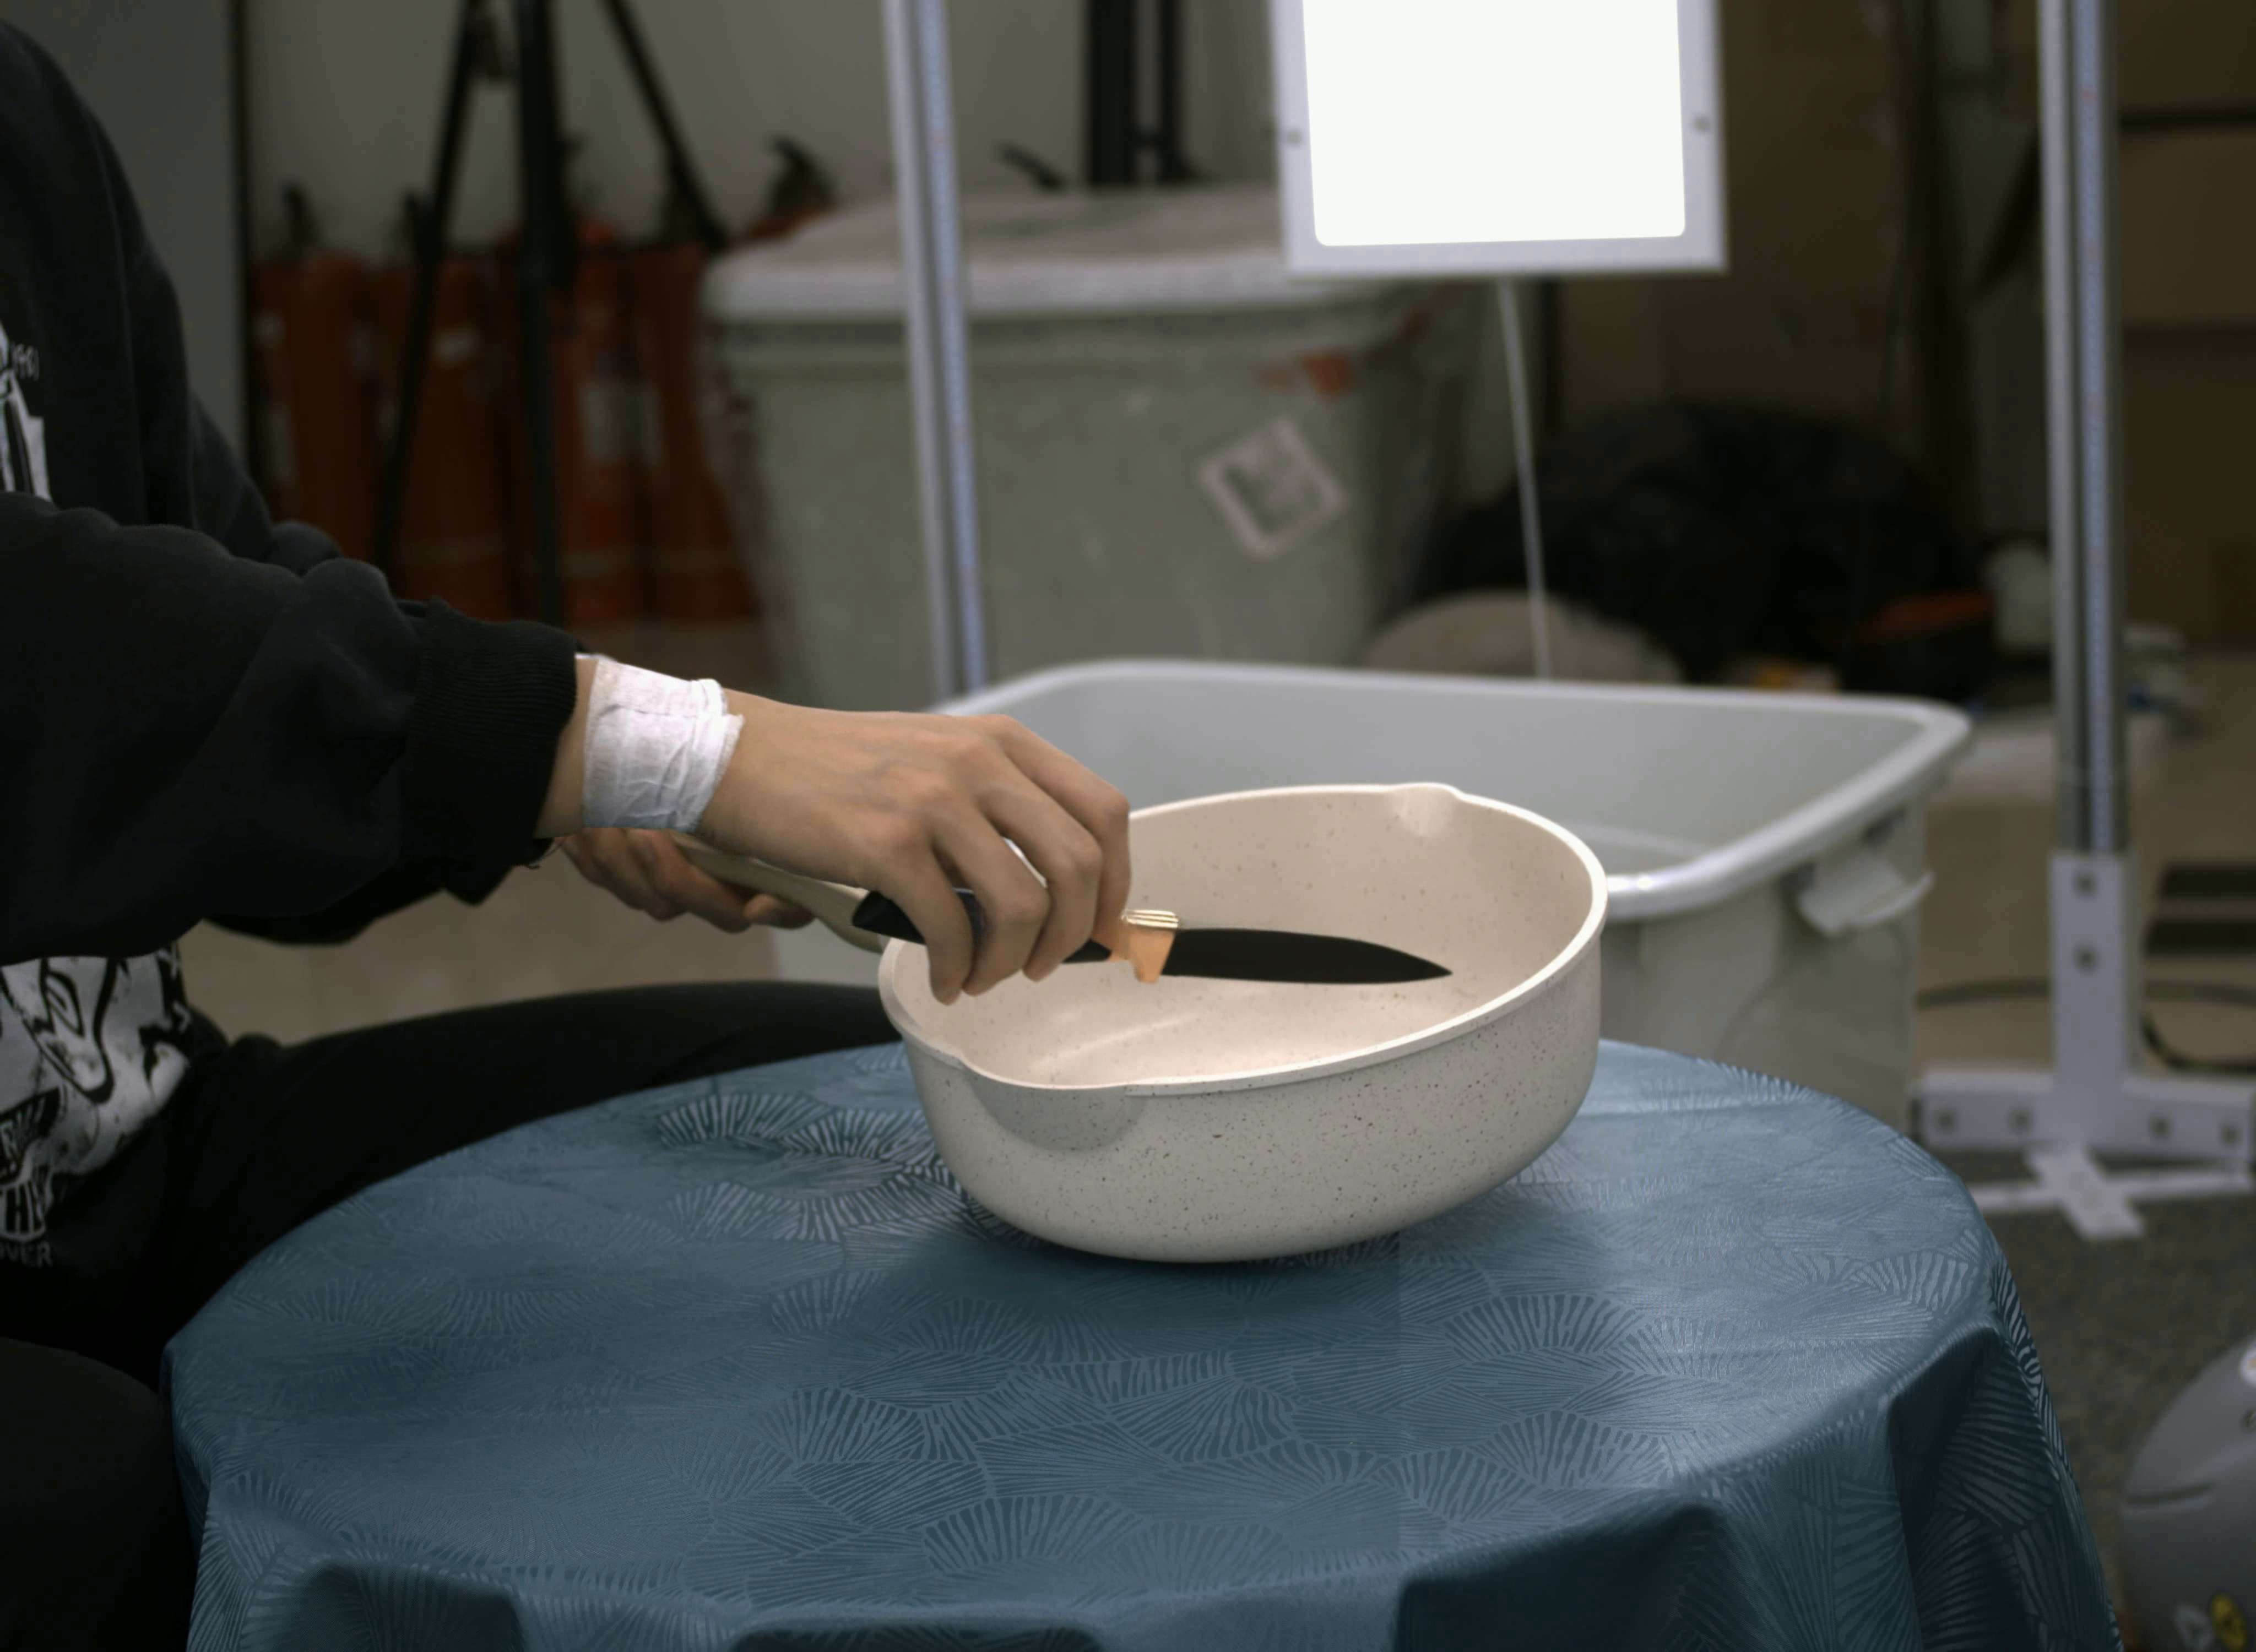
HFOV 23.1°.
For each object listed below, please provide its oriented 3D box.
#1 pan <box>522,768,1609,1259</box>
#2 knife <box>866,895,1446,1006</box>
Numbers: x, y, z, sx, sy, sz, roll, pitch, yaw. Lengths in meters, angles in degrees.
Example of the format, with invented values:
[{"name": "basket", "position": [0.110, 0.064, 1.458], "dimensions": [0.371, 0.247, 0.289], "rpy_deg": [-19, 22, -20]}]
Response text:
[{"name": "pan", "position": [-0.032, 0.053, 1.940], "dimensions": [0.444, 0.102, 0.257], "rpy_deg": [6, 28, 35]}, {"name": "knife", "position": [0.013, 0.042, 1.852], "dimensions": [0.221, 0.026, 0.017], "rpy_deg": [6, 19, -26]}]
